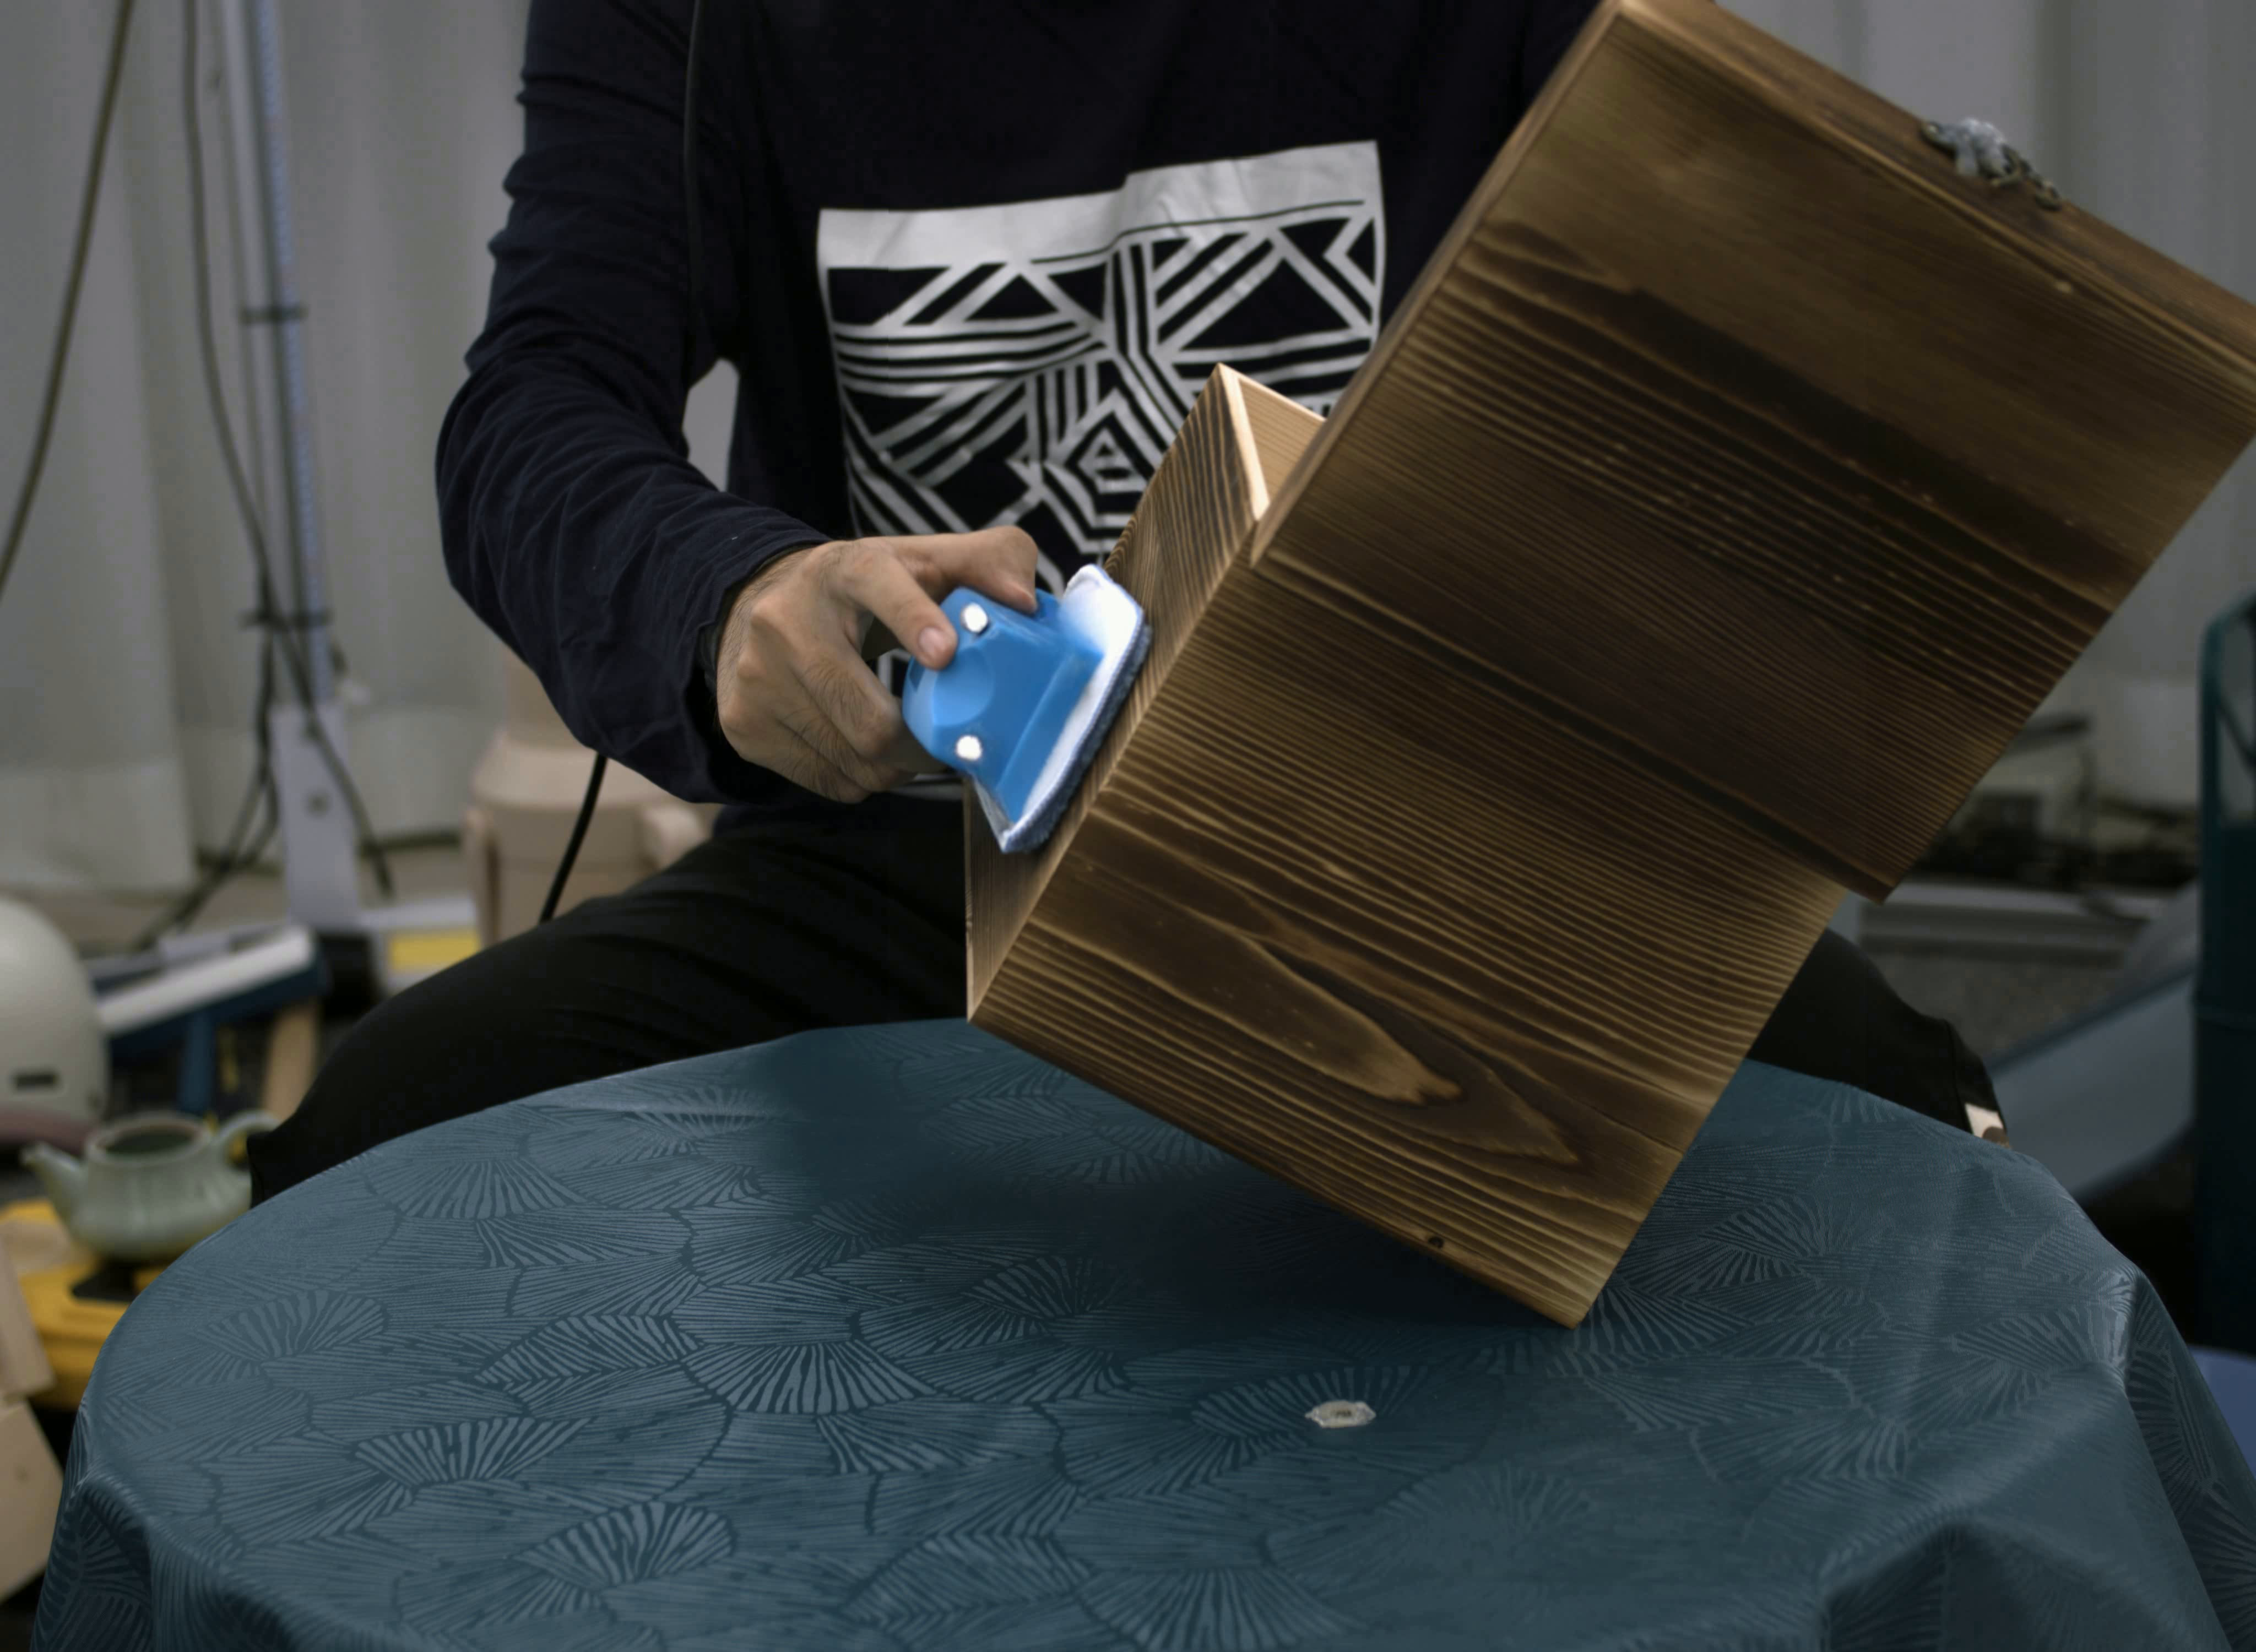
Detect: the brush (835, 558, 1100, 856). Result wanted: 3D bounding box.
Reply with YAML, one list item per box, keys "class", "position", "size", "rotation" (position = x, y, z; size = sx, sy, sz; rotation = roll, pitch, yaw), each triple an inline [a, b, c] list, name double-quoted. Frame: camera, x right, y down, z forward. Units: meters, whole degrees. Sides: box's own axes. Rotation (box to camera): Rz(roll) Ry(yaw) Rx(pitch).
- class: "brush"
  position: [-0.054, -0.041, 1.624]
  size: [0.055, 0.084, 0.145]
  rotation: [31, 3, -15]

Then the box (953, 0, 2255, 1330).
- class: "box"
  position: [0.127, -0.065, 1.568]
  size: [0.207, 0.374, 0.324]
  rotation: [27, 14, -10]
